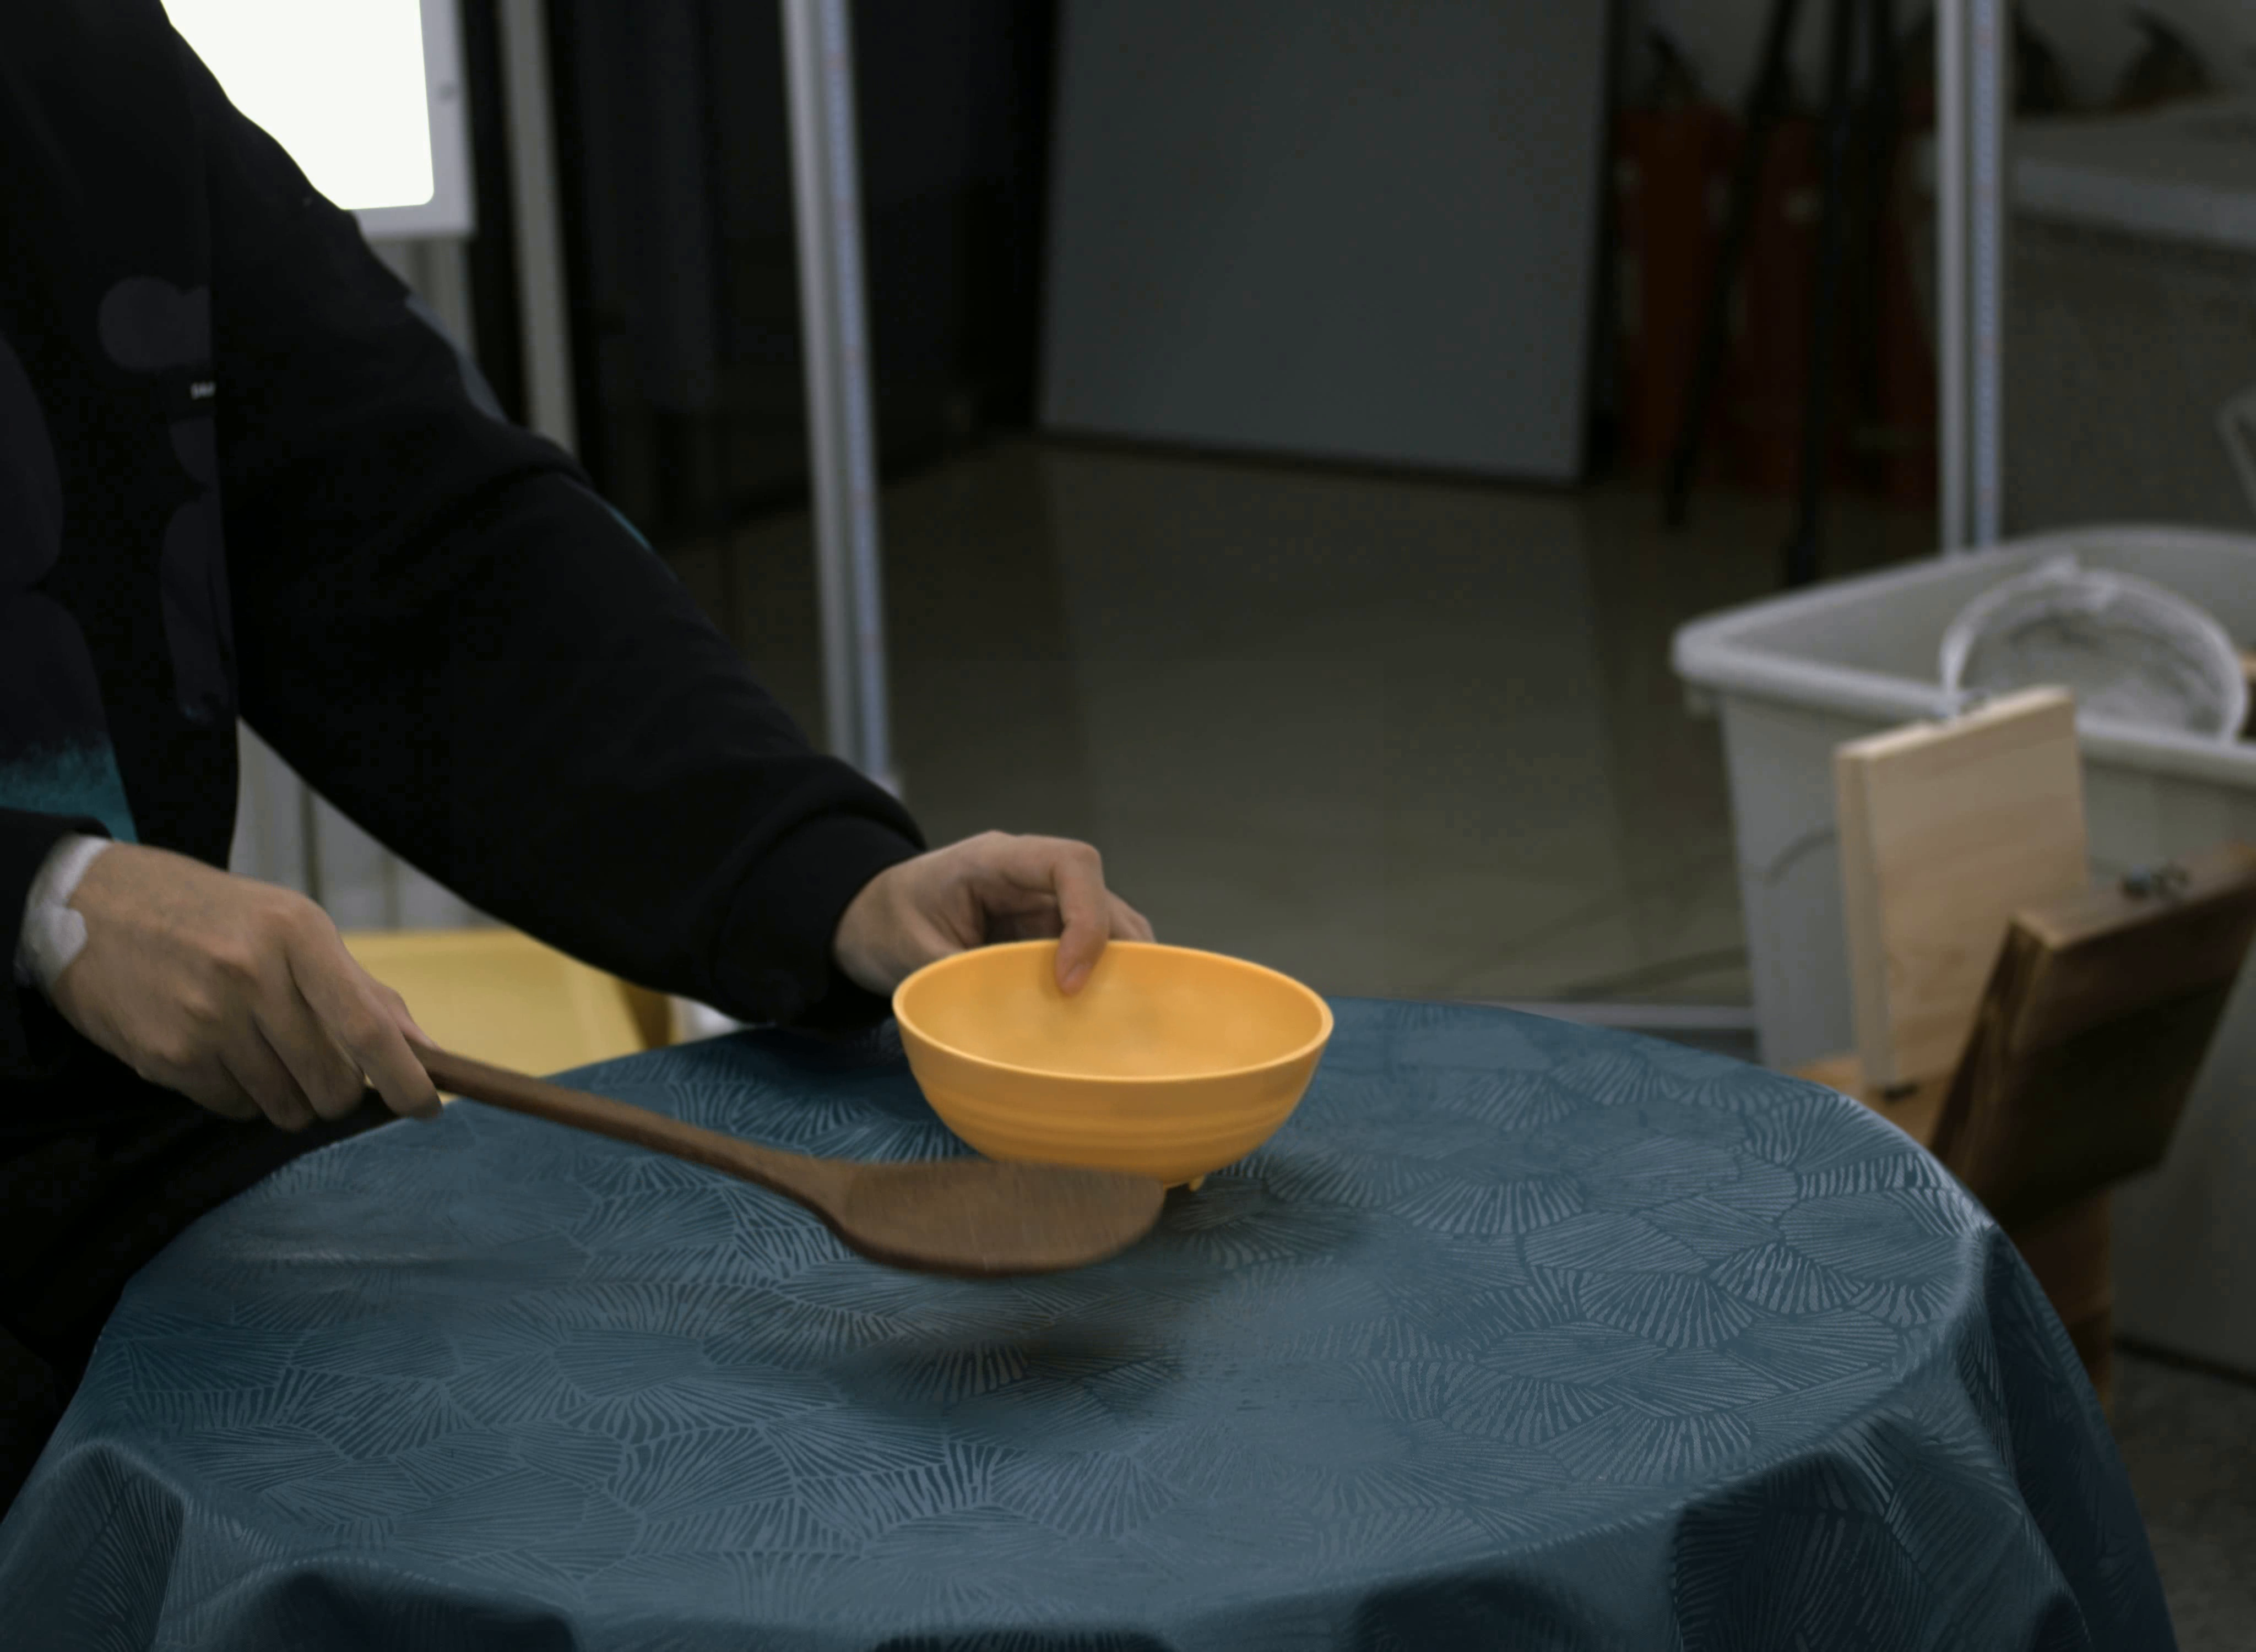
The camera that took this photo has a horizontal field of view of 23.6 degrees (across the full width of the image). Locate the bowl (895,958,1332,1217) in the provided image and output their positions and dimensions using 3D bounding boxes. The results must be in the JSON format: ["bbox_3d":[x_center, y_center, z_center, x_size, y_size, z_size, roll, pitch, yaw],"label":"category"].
[{"bbox_3d":[-0.006,0.090,1.761,0.143,0.061,0.145,2,13,-1],"label":"bowl"}]

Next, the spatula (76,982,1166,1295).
[{"bbox_3d":[-0.168,0.092,1.680,0.387,0.016,0.095,13,20,25],"label":"spatula"}]
